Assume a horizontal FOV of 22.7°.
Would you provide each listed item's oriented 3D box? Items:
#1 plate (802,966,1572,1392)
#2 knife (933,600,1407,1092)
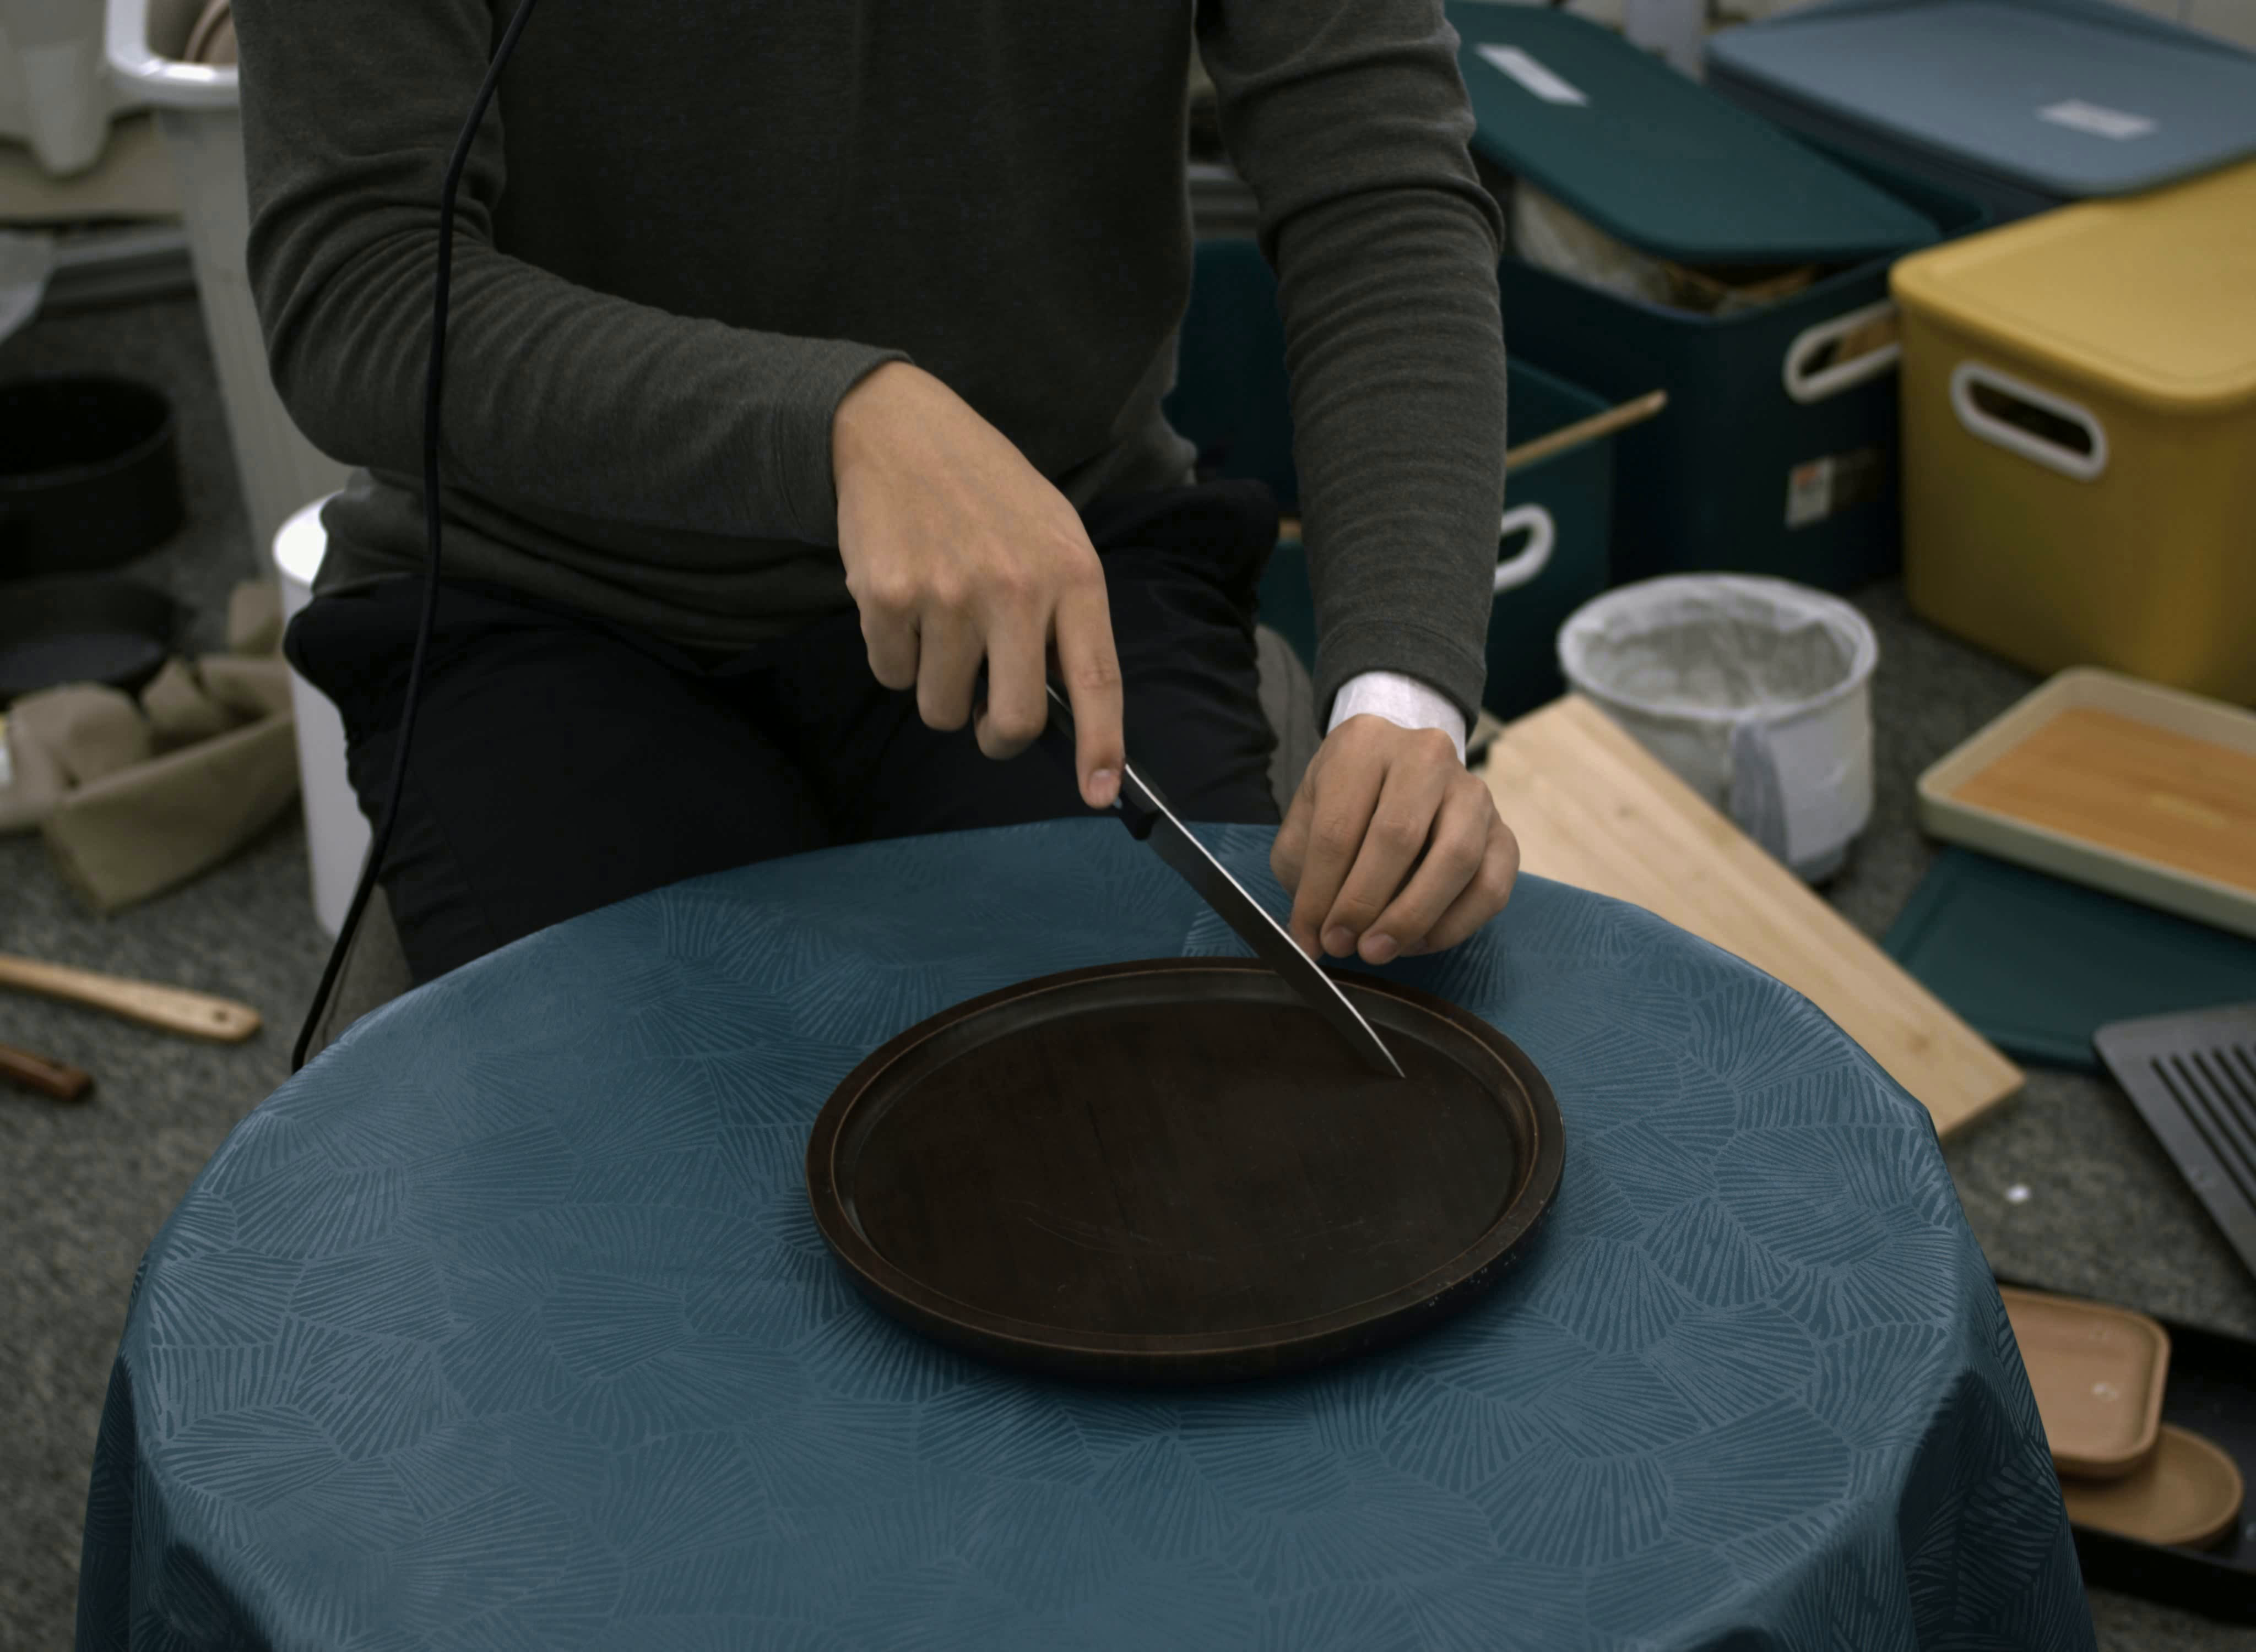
[{"bbox_3d":[0.020,0.114,1.851,0.253,0.029,0.259,-1,28,1],"label":"plate"},{"bbox_3d":[0.016,0.005,1.928,0.239,0.024,0.016,46,45,17],"label":"knife"}]
